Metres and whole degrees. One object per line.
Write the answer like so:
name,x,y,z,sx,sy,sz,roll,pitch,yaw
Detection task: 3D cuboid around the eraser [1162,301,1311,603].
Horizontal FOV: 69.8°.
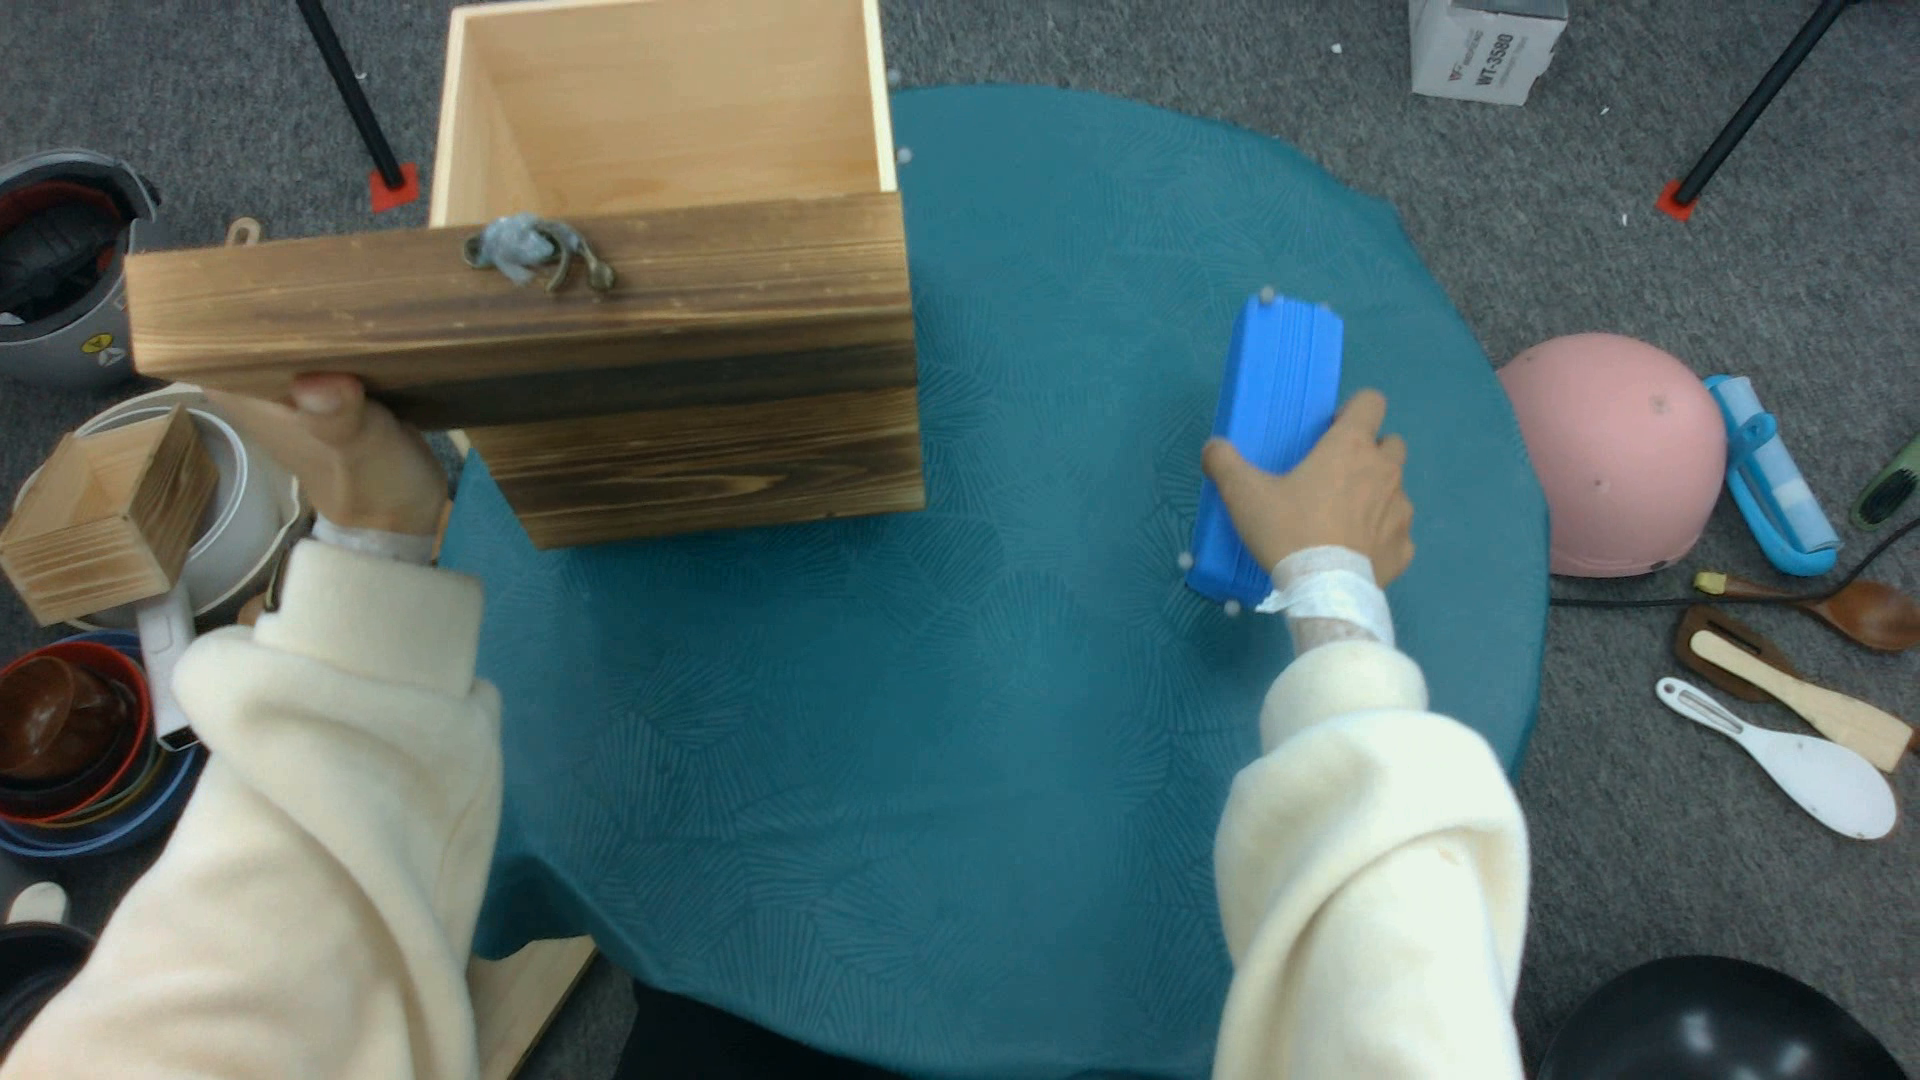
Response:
eraser,0.144,-0.049,0.705,0.054,0.047,0.163,14,68,-1

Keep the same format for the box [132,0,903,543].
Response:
box,-0.139,-0.137,0.583,0.209,0.374,0.323,-6,62,-4
